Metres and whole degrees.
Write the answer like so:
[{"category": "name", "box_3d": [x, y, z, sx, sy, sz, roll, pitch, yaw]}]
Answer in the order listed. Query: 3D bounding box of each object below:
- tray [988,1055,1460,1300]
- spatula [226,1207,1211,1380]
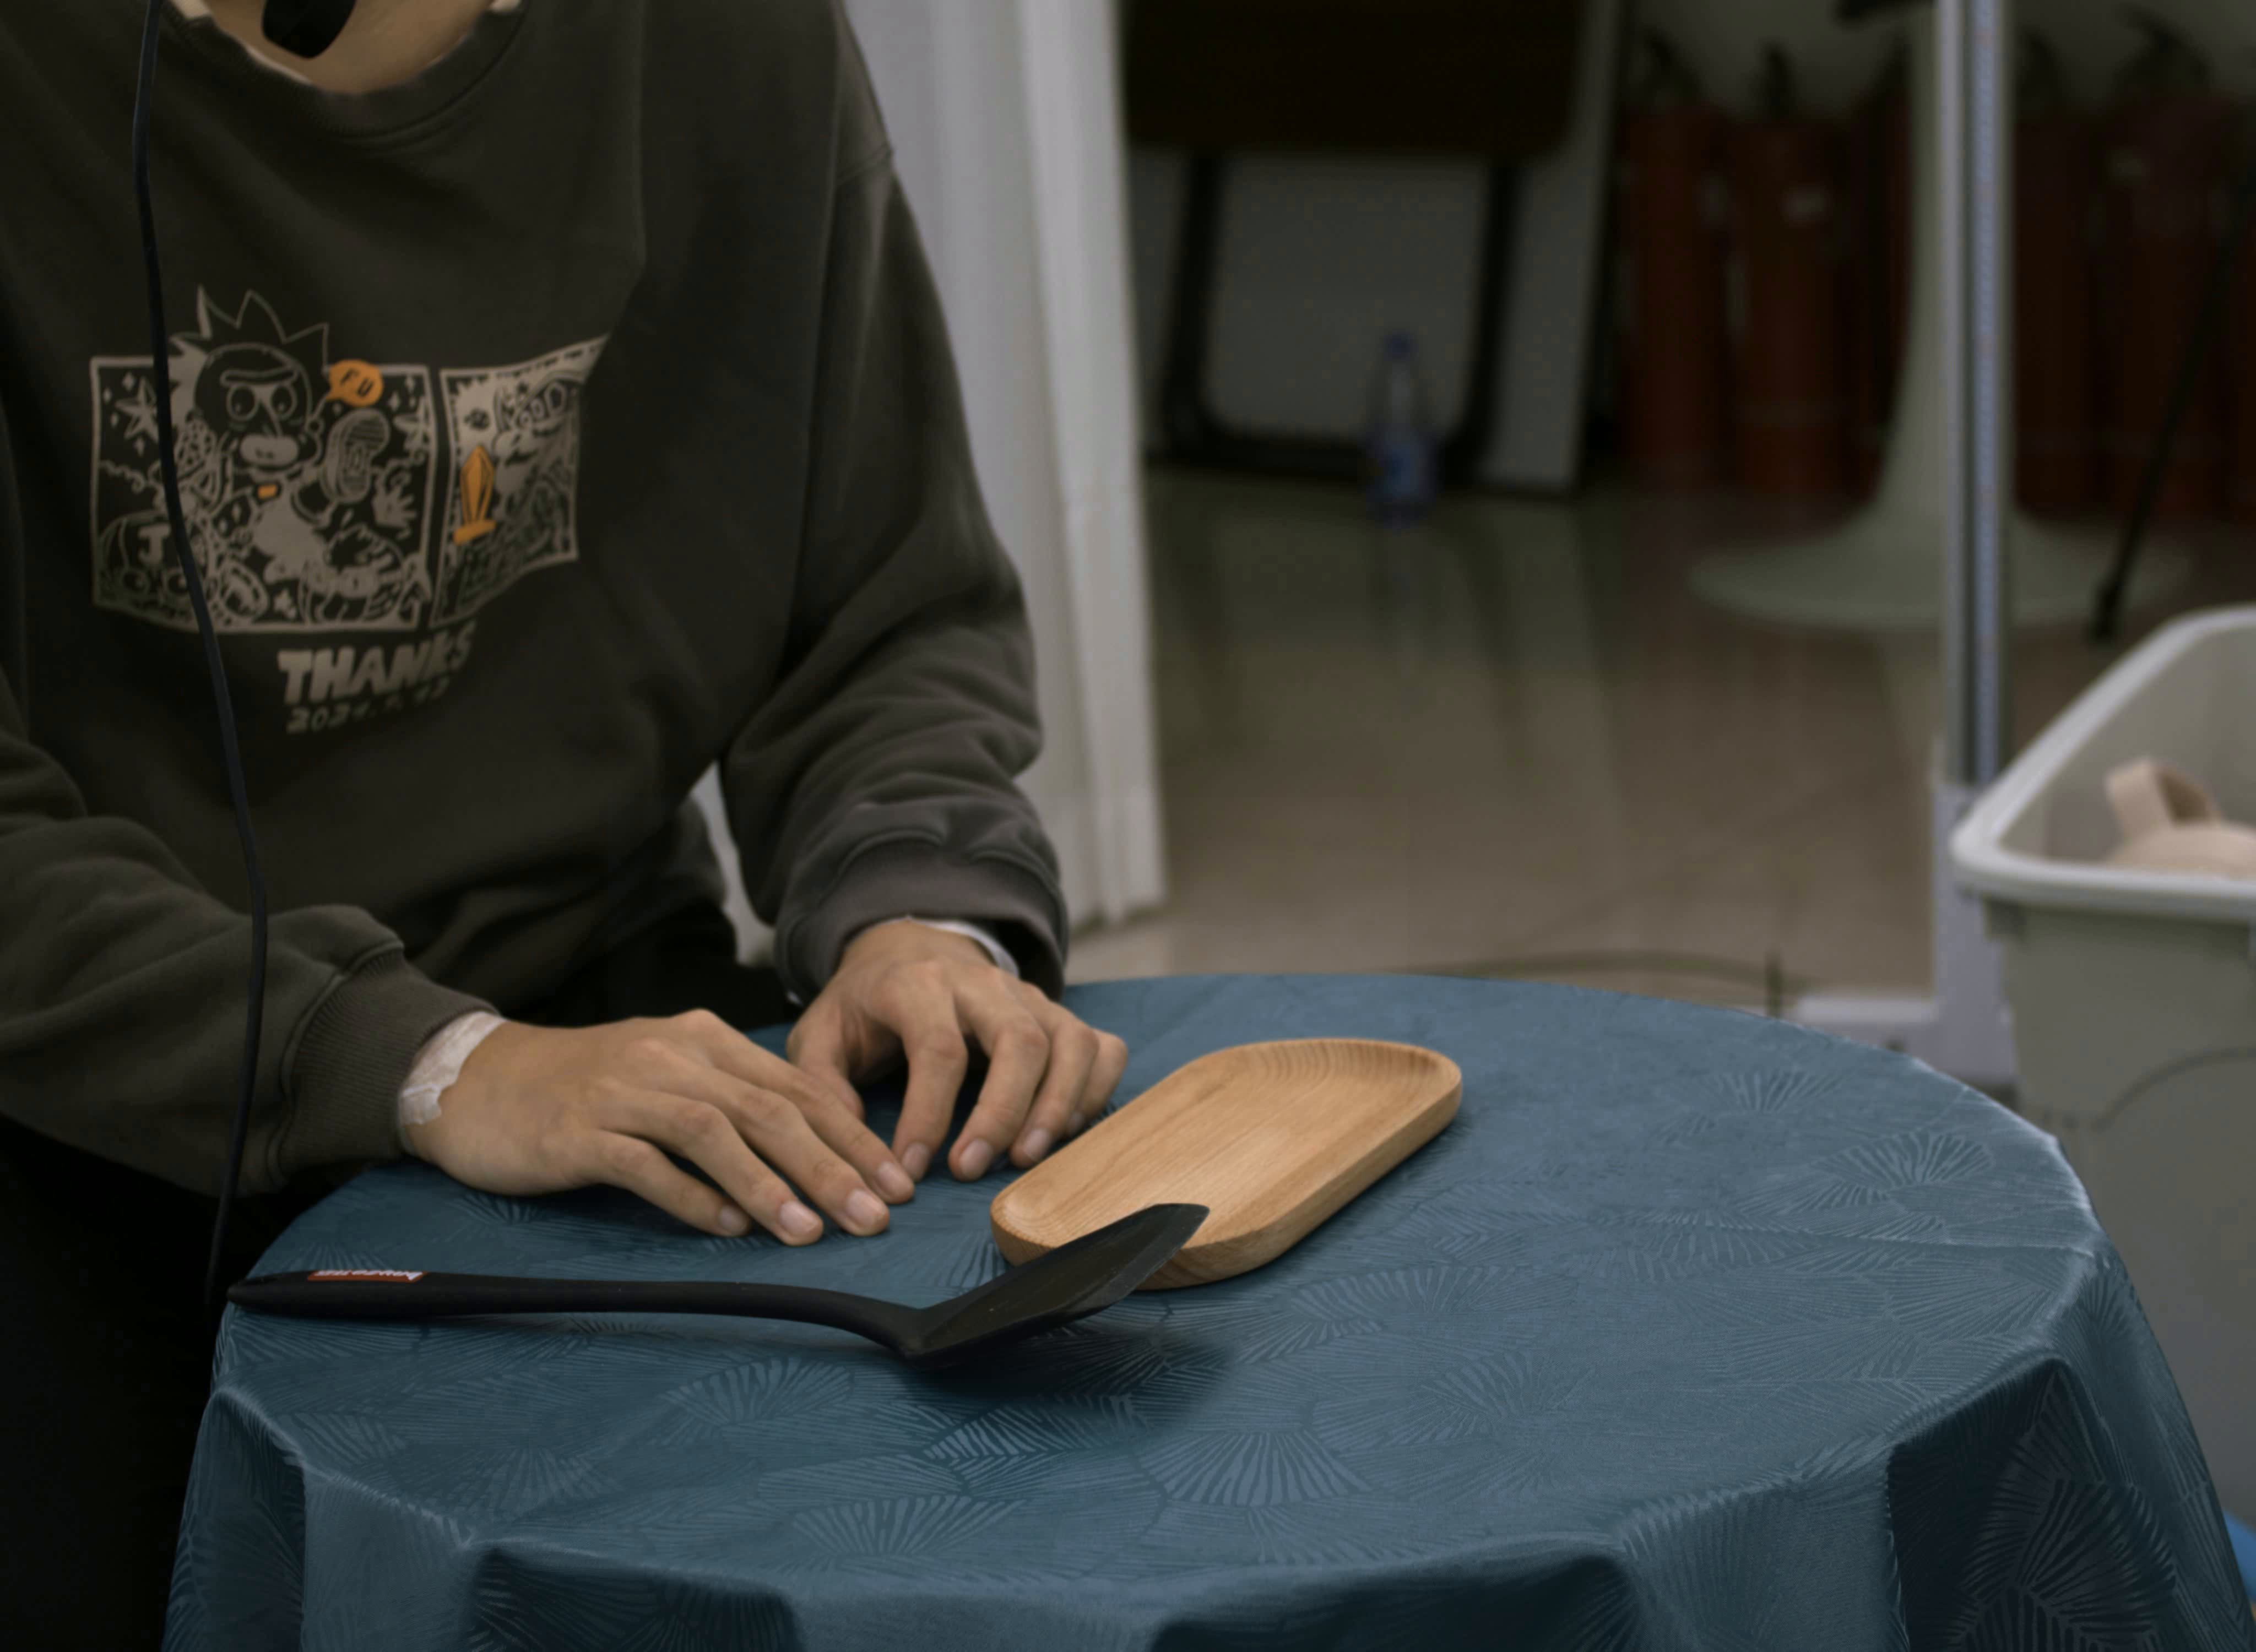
[{"category": "tray", "box_3d": [0.034, 0.113, 1.768, 0.102, 0.020, 0.228, 2, 16, 27]}, {"category": "spatula", "box_3d": [-0.134, 0.141, 1.657, 0.326, 0.041, 0.098, 1, 13, 22]}]
